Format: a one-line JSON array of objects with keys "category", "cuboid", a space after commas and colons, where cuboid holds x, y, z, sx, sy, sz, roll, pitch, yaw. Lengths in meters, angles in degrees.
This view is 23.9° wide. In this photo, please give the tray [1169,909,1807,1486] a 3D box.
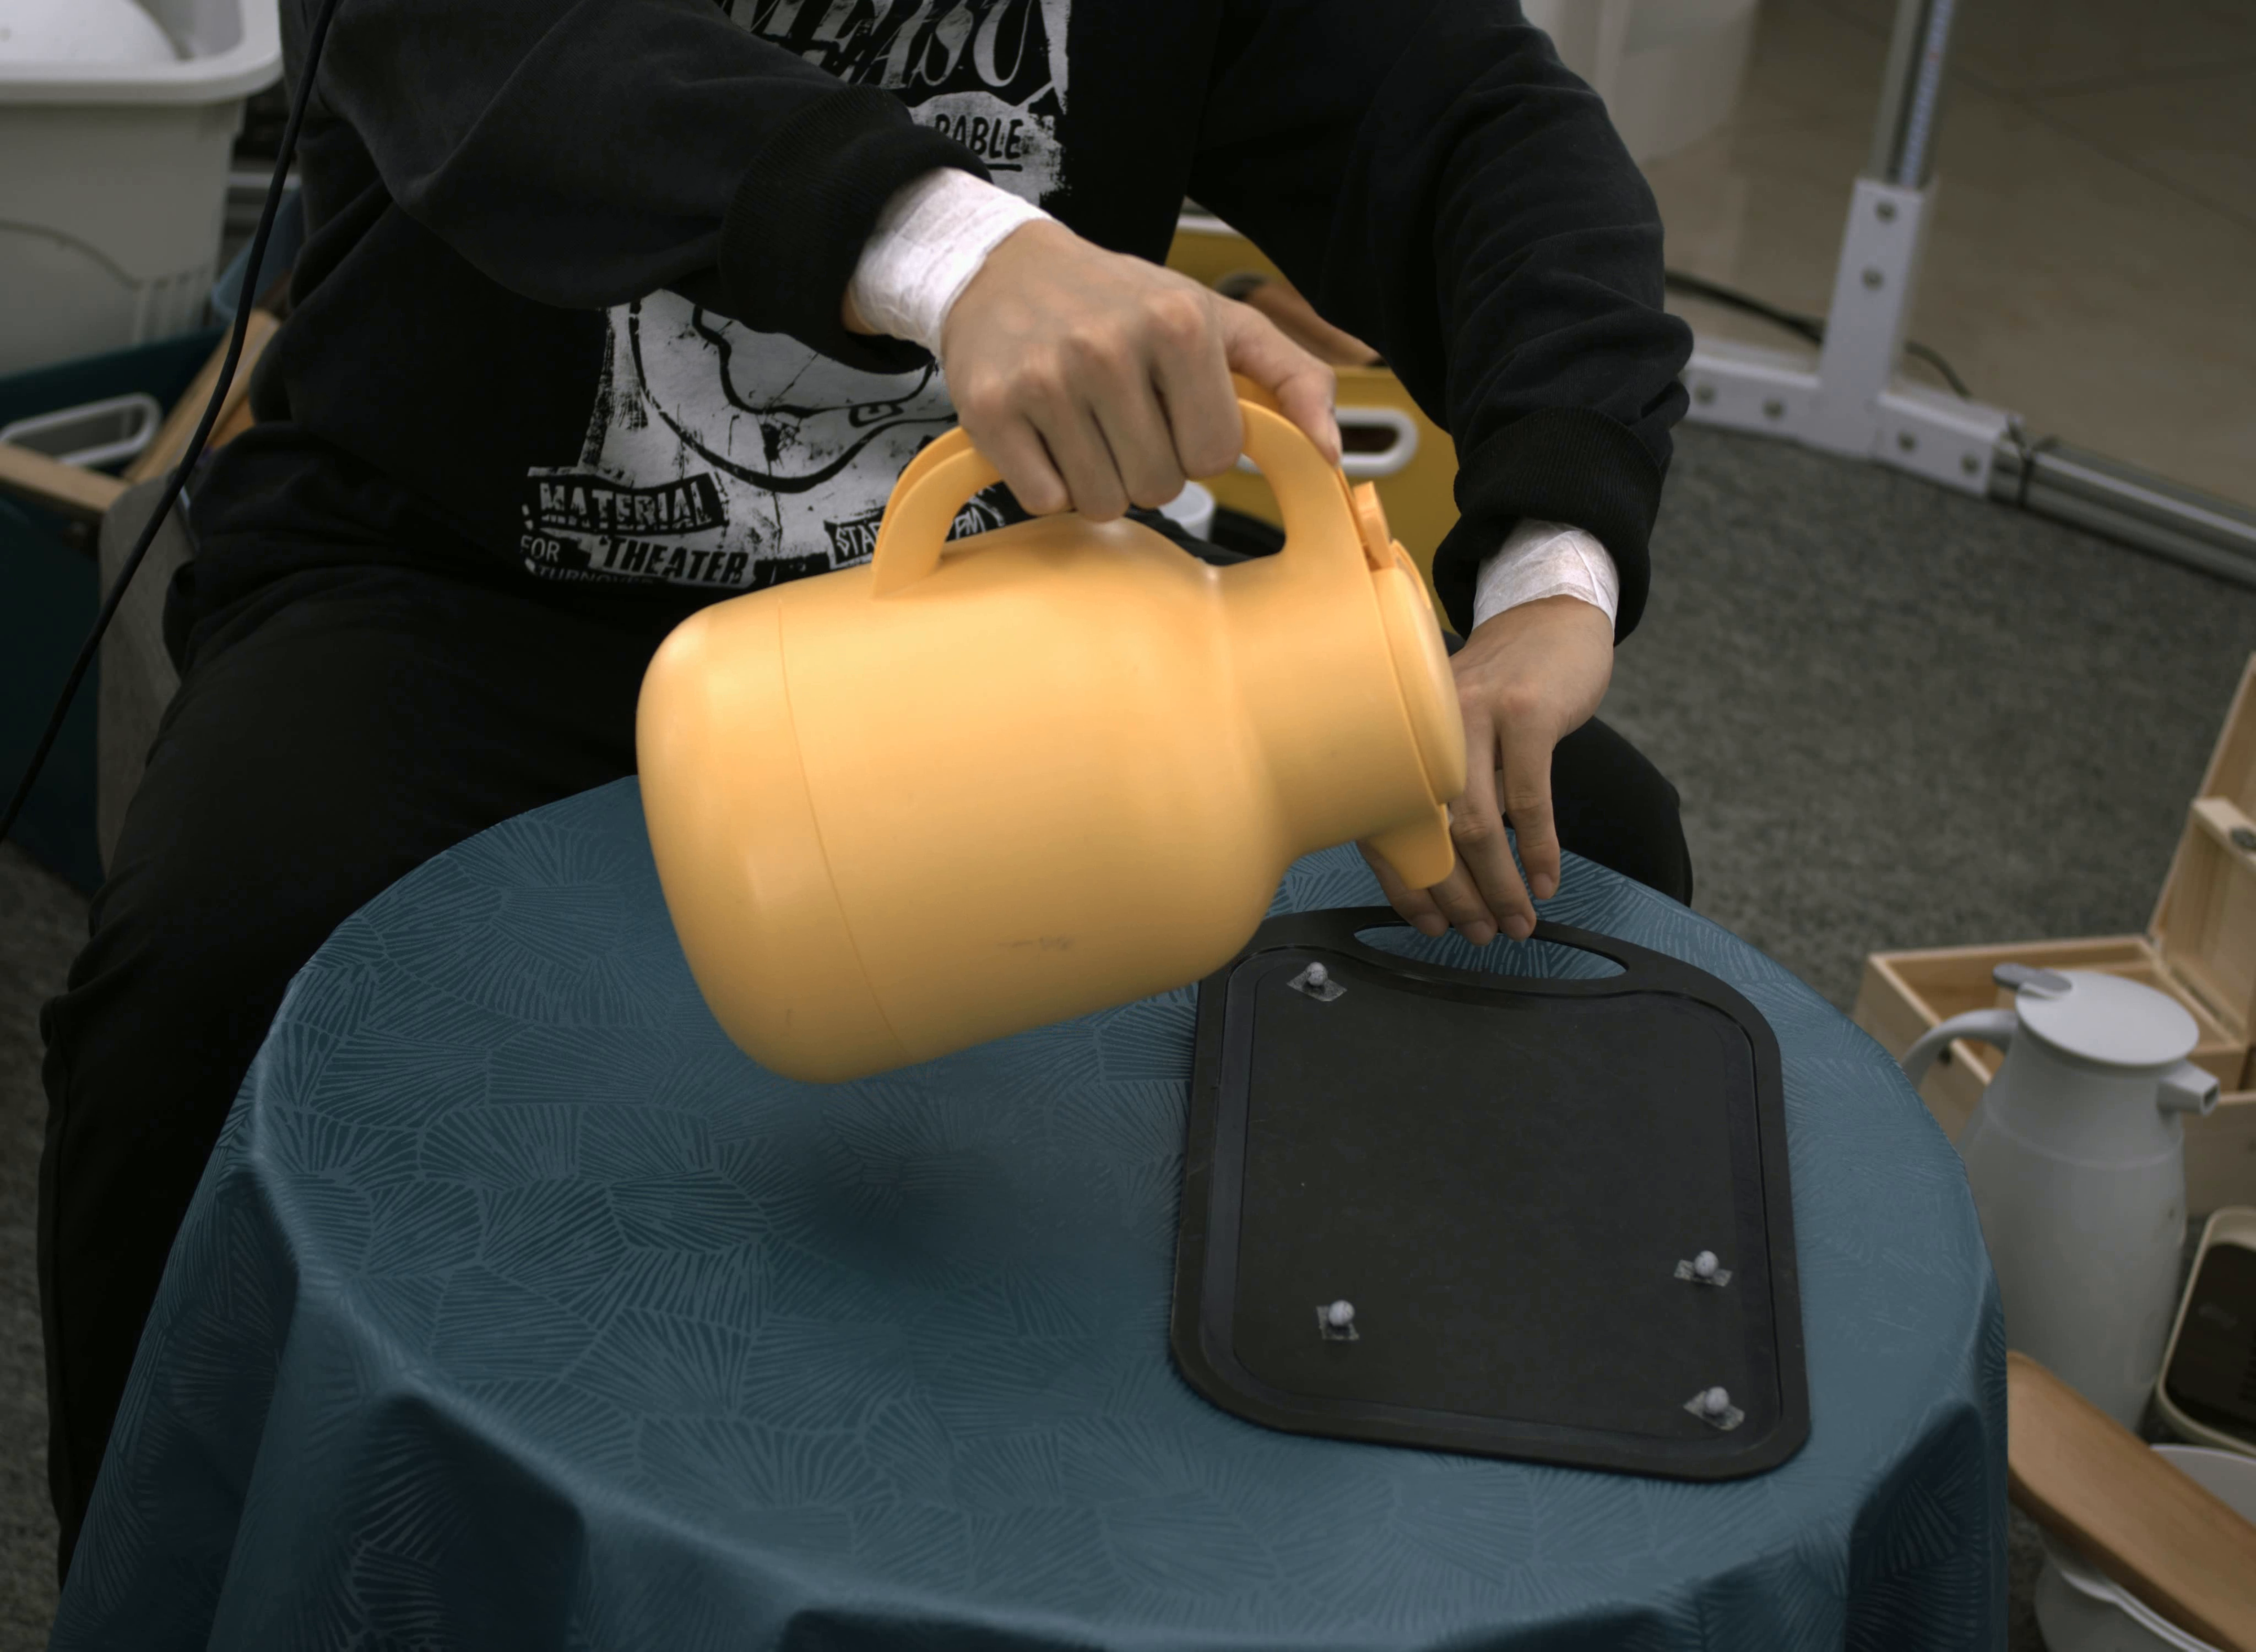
[{"category": "tray", "cuboid": [0.123, 0.116, 1.819, 0.210, 0.010, 0.327, 7, 31, 0]}]

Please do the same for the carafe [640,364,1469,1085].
[{"category": "carafe", "cuboid": [-0.026, -0.037, 1.726, 0.260, 0.201, 0.164, -16, 21, 4]}]
